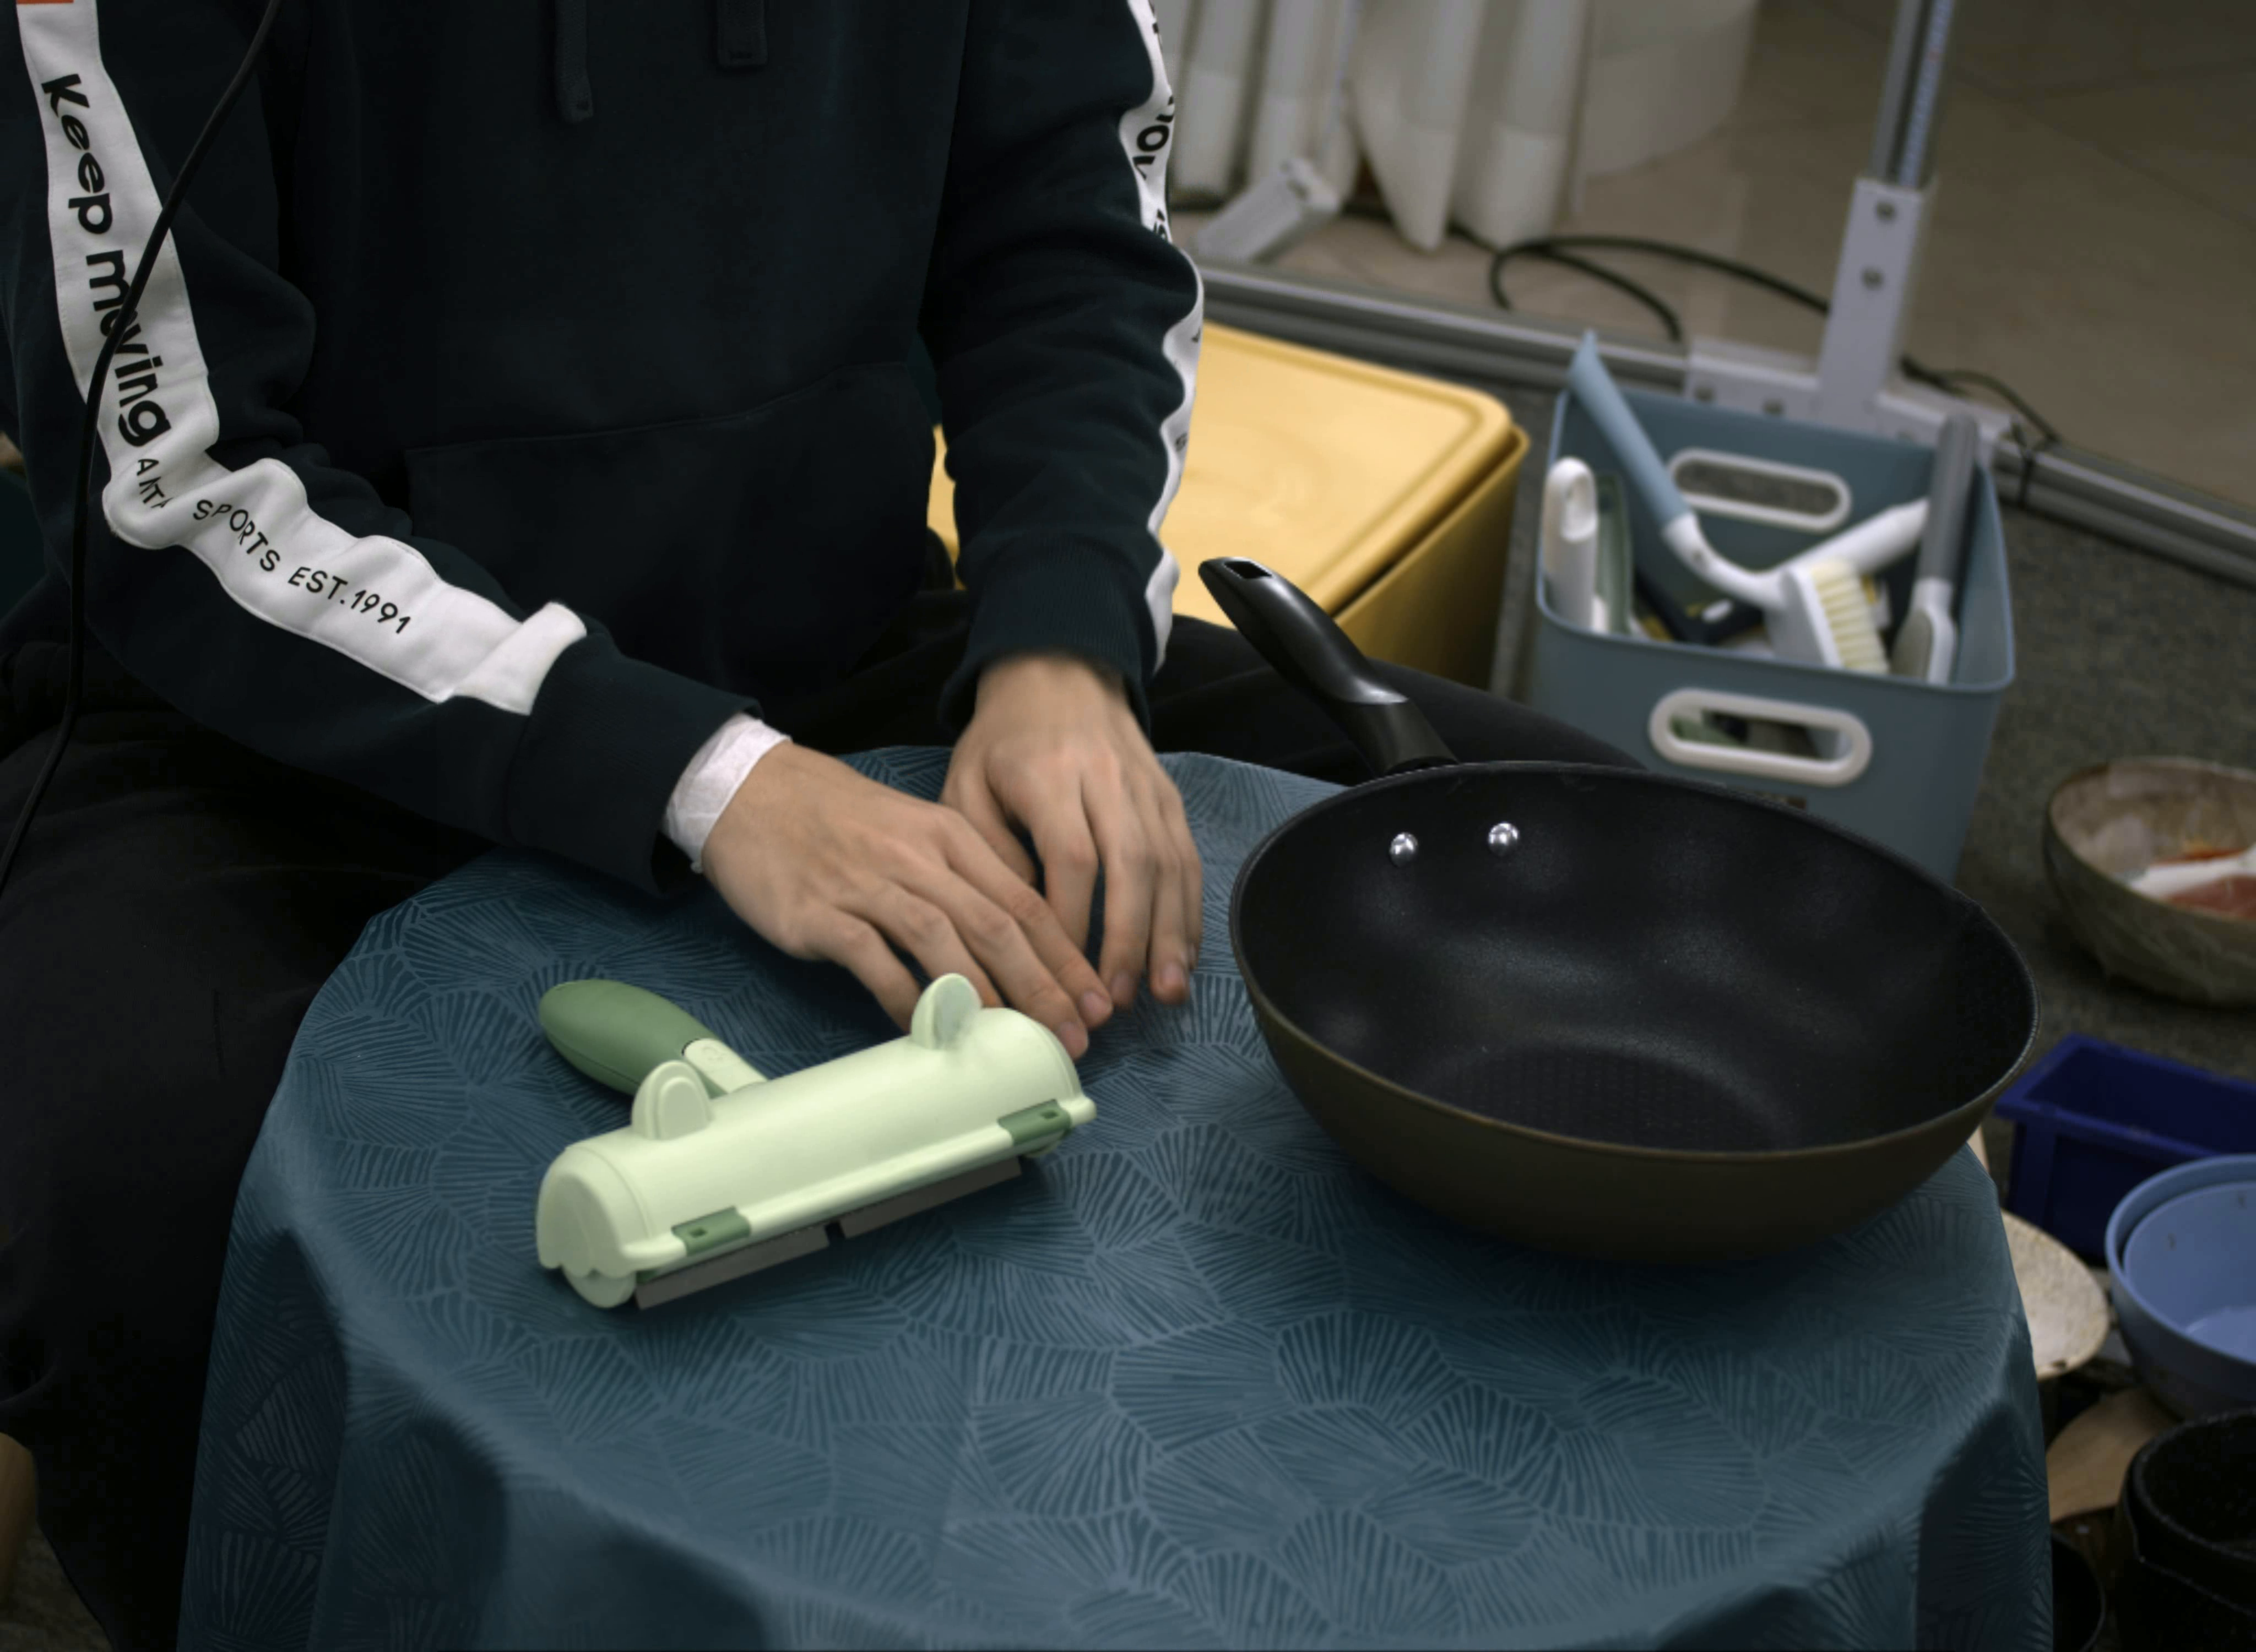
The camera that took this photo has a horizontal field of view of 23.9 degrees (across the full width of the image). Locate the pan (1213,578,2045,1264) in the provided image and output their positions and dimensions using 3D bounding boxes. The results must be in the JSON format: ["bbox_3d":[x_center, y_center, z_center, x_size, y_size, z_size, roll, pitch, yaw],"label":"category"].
[{"bbox_3d":[0.130,0.036,1.909,0.286,0.086,0.467,-7,28,-25],"label":"pan"}]

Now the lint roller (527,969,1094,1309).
[{"bbox_3d":[-0.138,0.075,1.780,0.197,0.082,0.185,-17,40,-37],"label":"lint roller"}]
